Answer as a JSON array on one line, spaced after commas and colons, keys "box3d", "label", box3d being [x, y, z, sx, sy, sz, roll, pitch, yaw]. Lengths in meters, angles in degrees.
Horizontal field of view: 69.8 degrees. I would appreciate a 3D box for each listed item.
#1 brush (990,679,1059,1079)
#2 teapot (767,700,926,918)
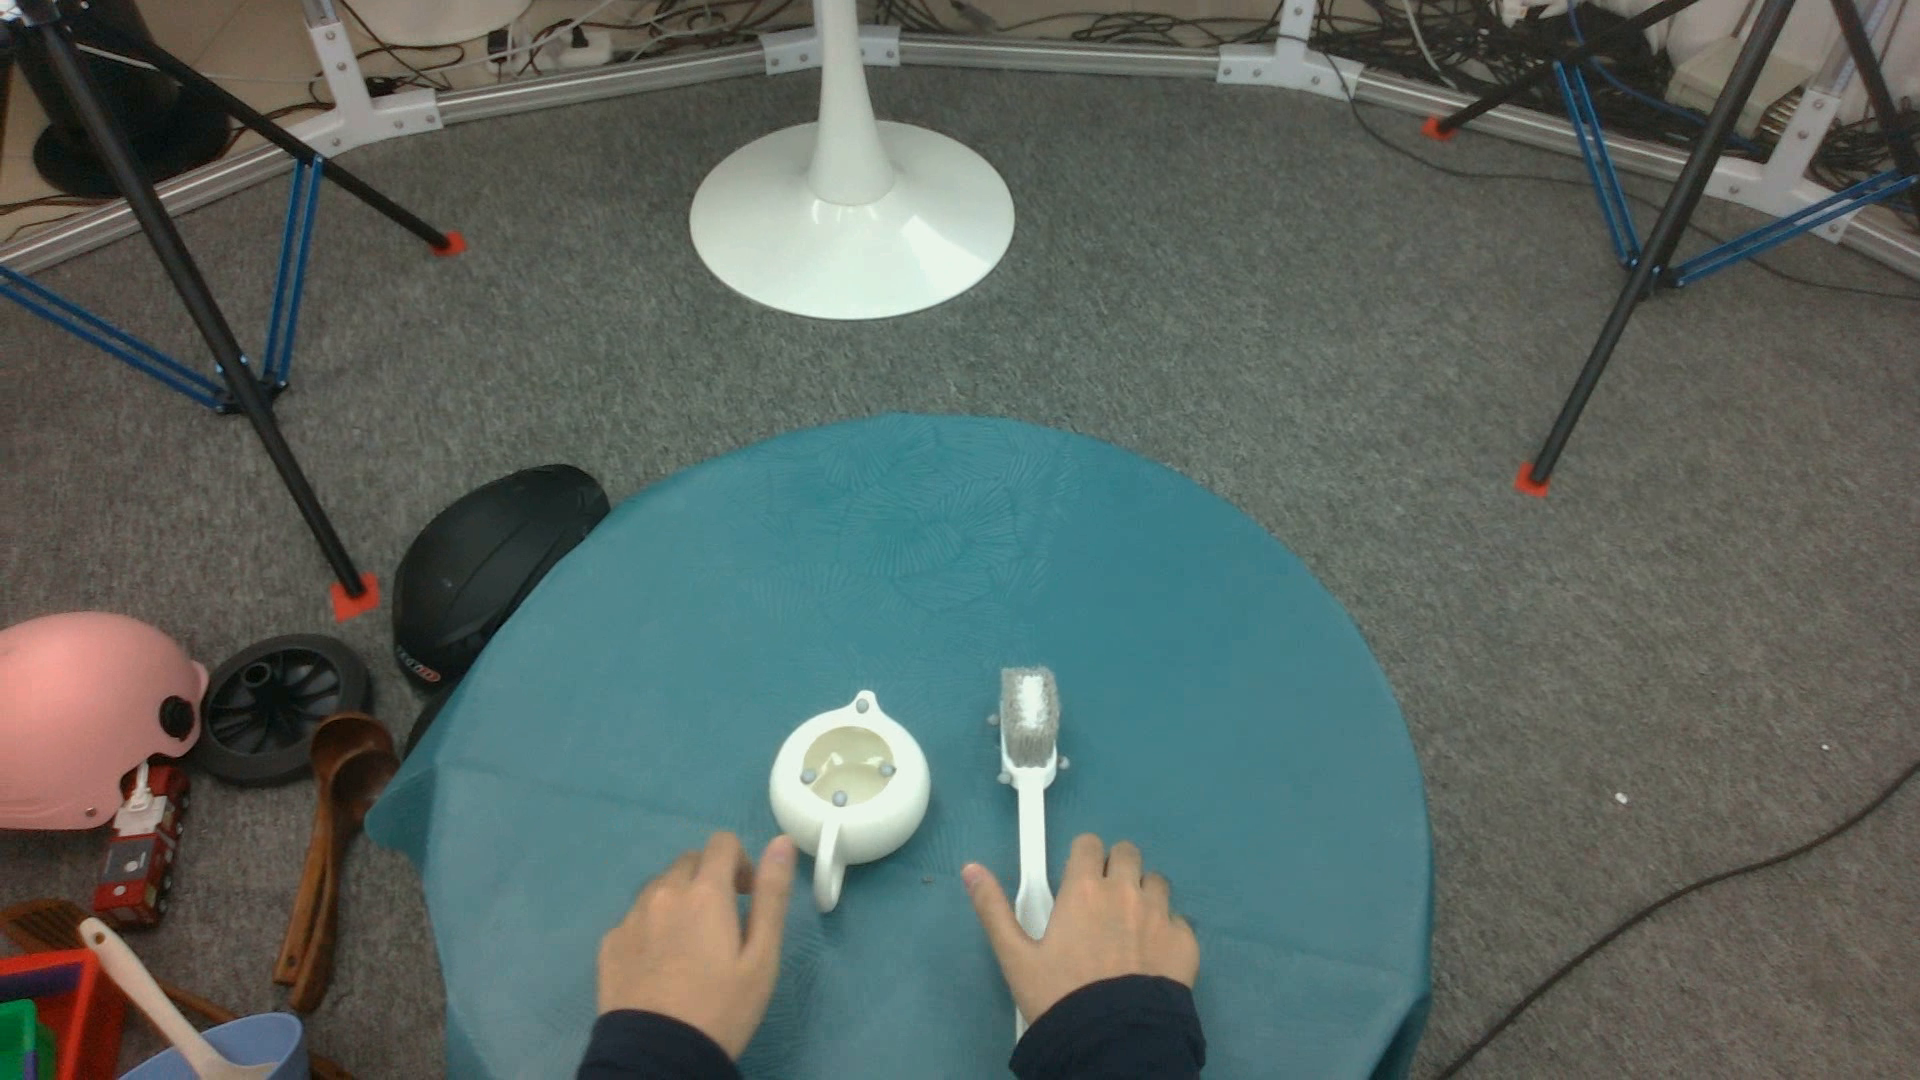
[{"box3d": [0.036, 0.185, 0.789, 0.034, 0.050, 0.245, 6, 49, -2], "label": "brush"}, {"box3d": [-0.068, 0.158, 0.807, 0.093, 0.056, 0.128, 8, 52, 0], "label": "teapot"}]
